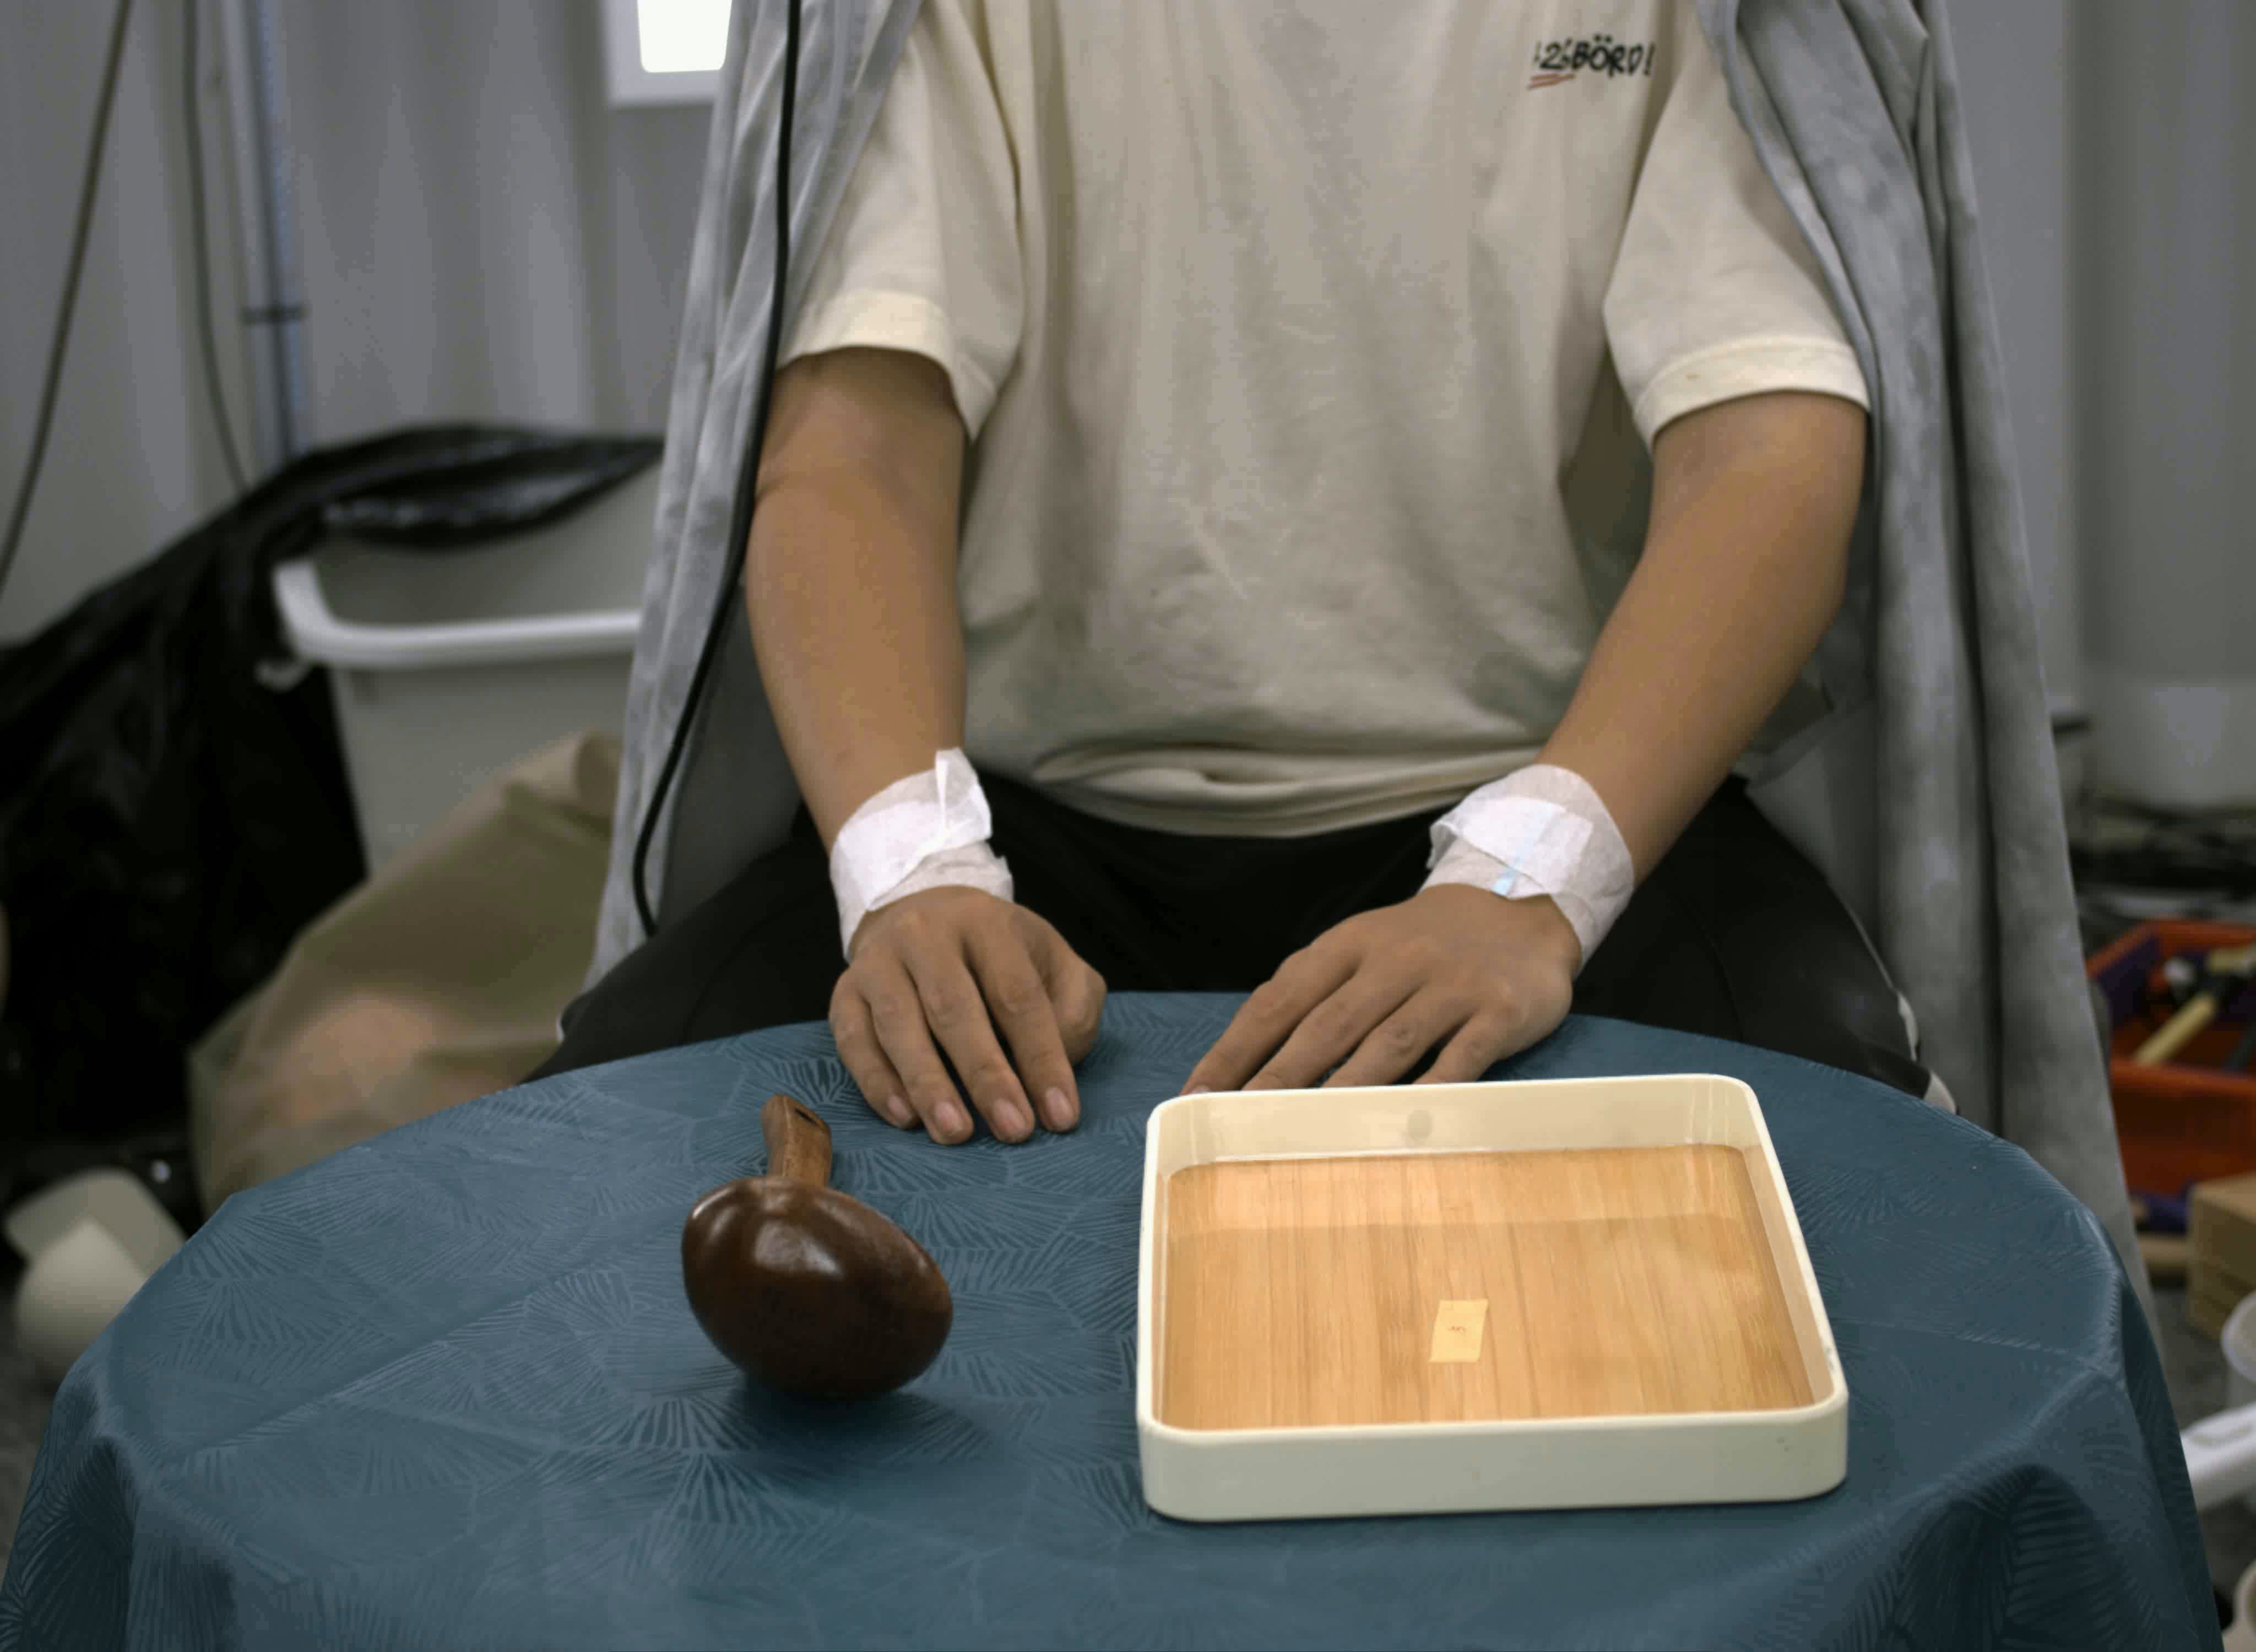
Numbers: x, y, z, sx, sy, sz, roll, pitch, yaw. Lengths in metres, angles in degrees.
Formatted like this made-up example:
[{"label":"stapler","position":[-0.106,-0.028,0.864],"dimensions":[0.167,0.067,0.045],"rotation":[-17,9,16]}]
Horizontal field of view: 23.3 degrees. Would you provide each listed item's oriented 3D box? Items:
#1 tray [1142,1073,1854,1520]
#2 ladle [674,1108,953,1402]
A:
[{"label":"tray","position":[0.101,0.132,1.582],"dimensions":[0.191,0.027,0.302],"rotation":[-3,15,2]},{"label":"ladle","position":[-0.089,0.105,1.636],"dimensions":[0.081,0.076,0.276],"rotation":[35,12,-7]}]
